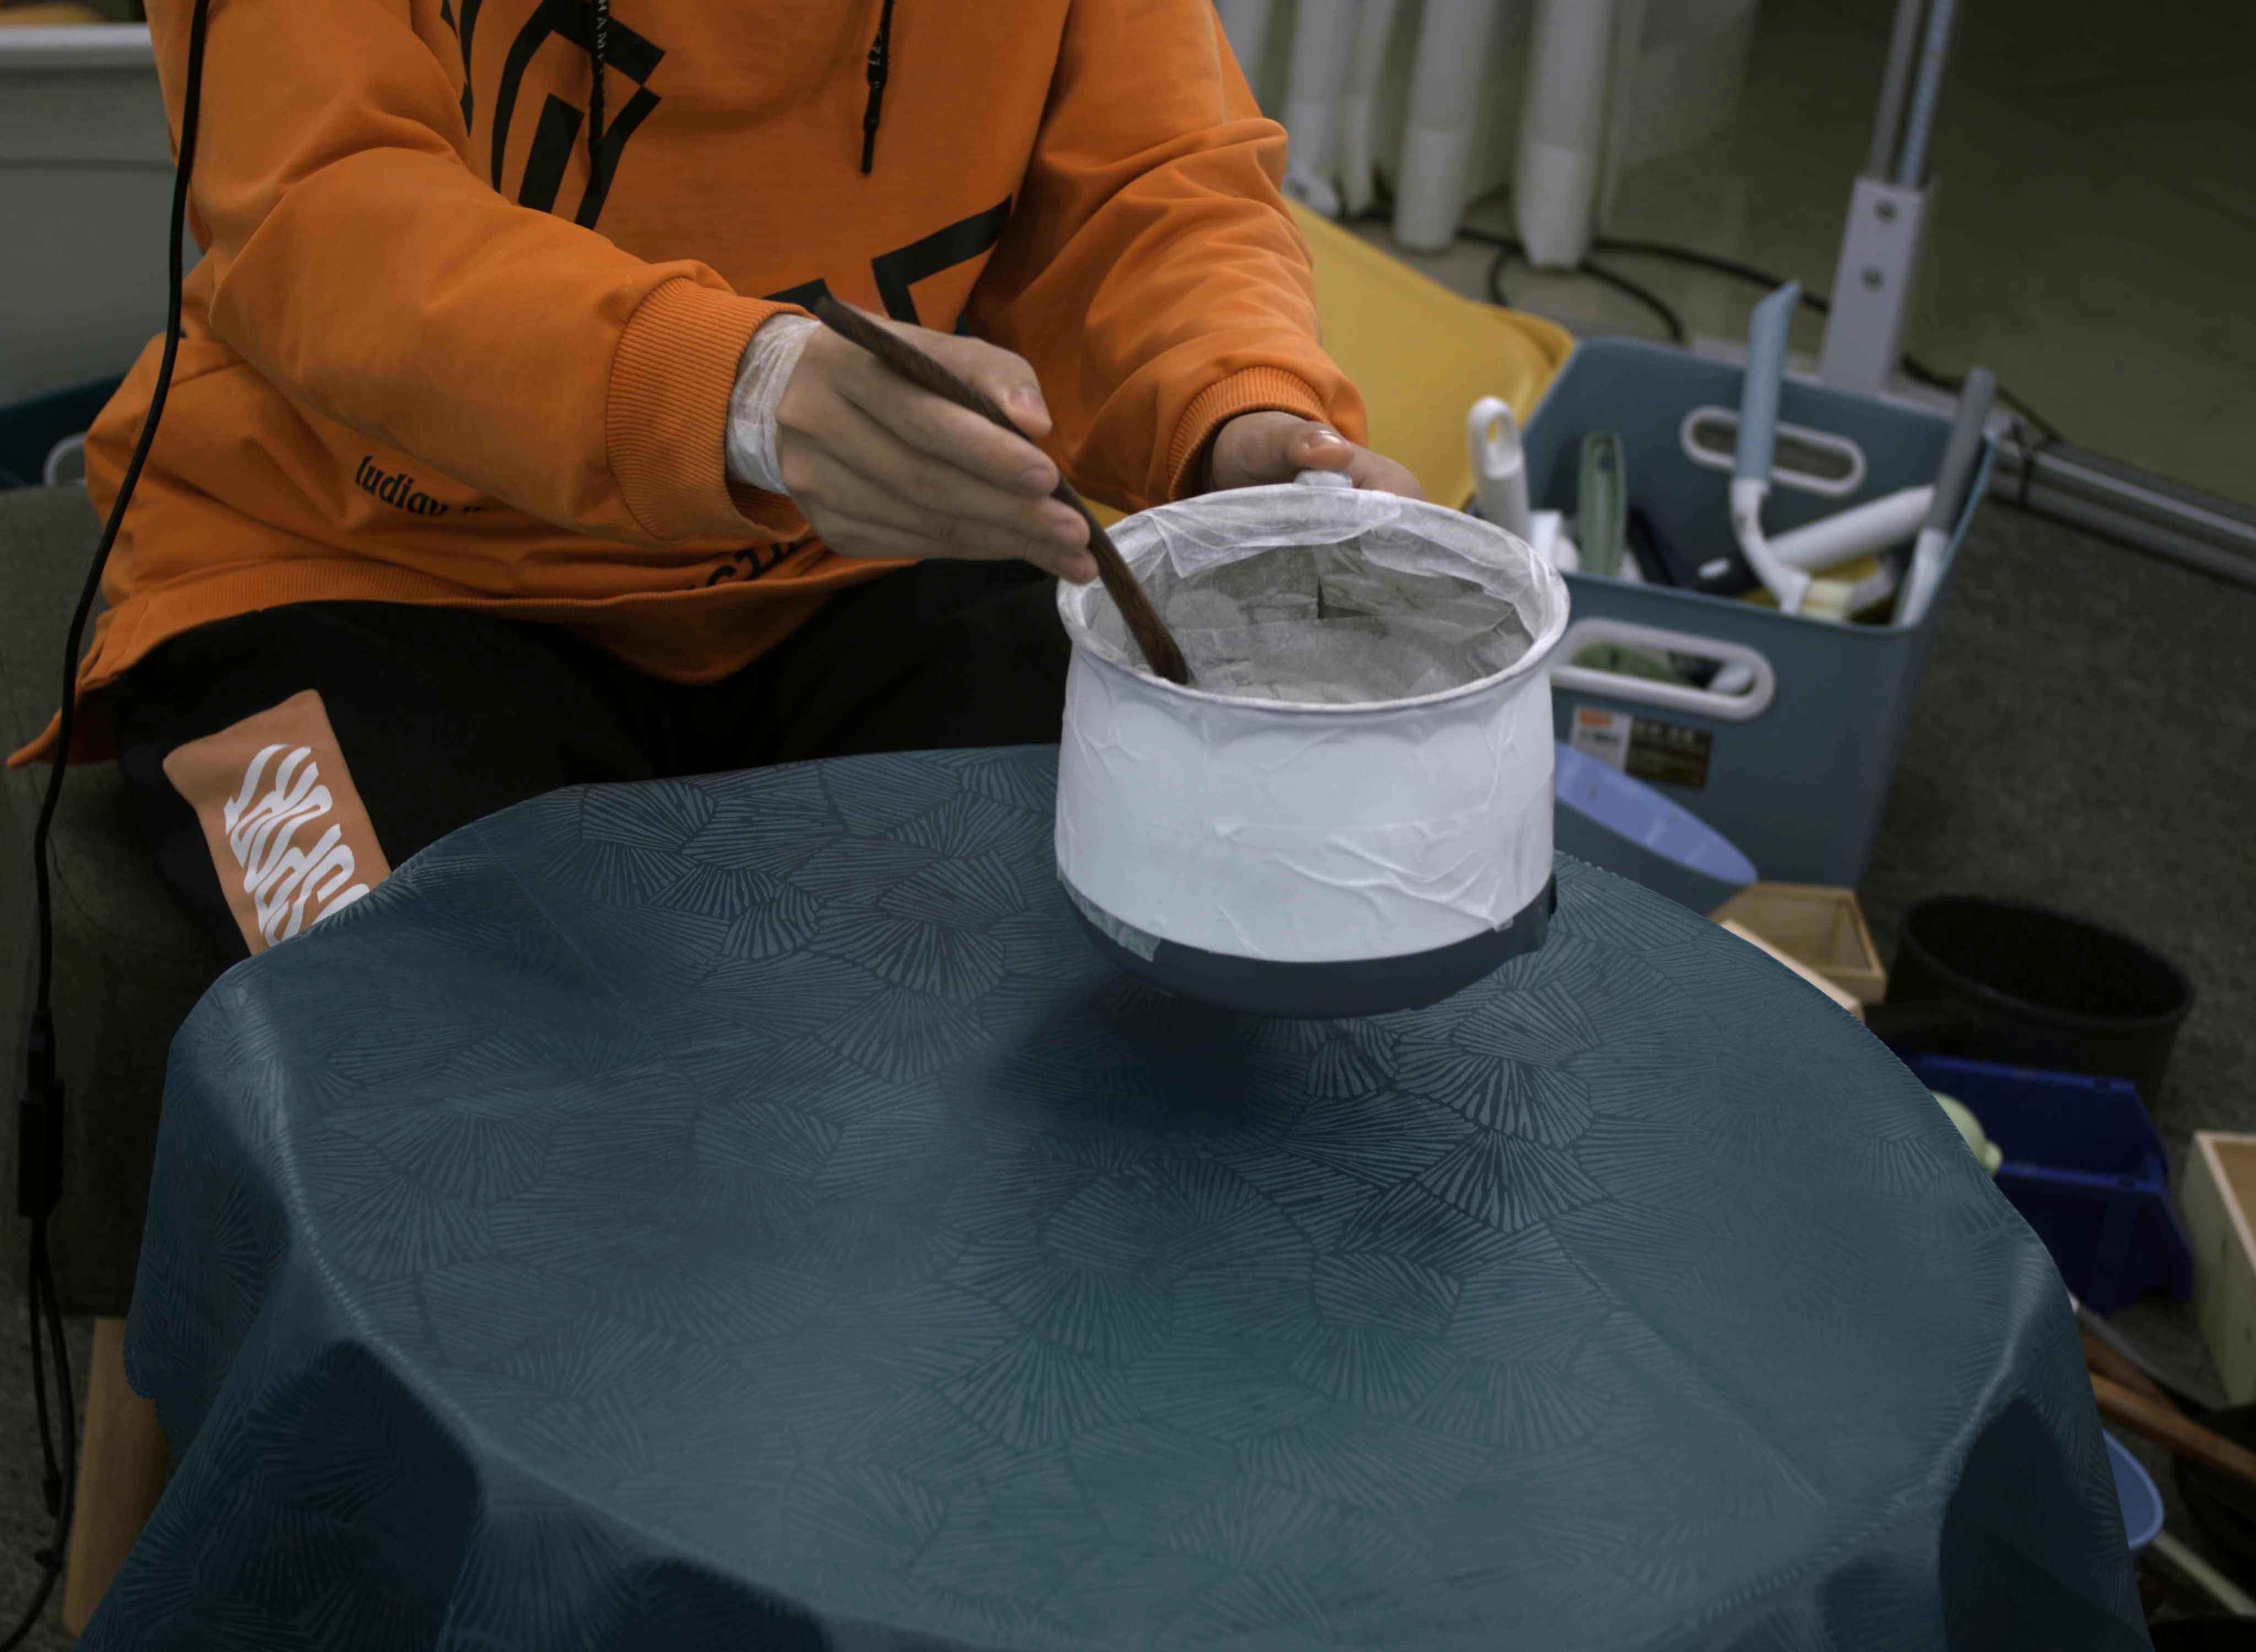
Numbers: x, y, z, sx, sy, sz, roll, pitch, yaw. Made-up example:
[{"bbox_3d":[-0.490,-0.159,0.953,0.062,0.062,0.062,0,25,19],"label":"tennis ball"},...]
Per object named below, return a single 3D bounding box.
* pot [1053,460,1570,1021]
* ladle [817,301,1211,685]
[{"bbox_3d":[0.063,-0.037,1.879,0.178,0.136,0.235,2,28,2],"label":"pot"},{"bbox_3d":[0.006,-0.099,1.795,0.071,0.272,0.076,-45,24,-9],"label":"ladle"}]
